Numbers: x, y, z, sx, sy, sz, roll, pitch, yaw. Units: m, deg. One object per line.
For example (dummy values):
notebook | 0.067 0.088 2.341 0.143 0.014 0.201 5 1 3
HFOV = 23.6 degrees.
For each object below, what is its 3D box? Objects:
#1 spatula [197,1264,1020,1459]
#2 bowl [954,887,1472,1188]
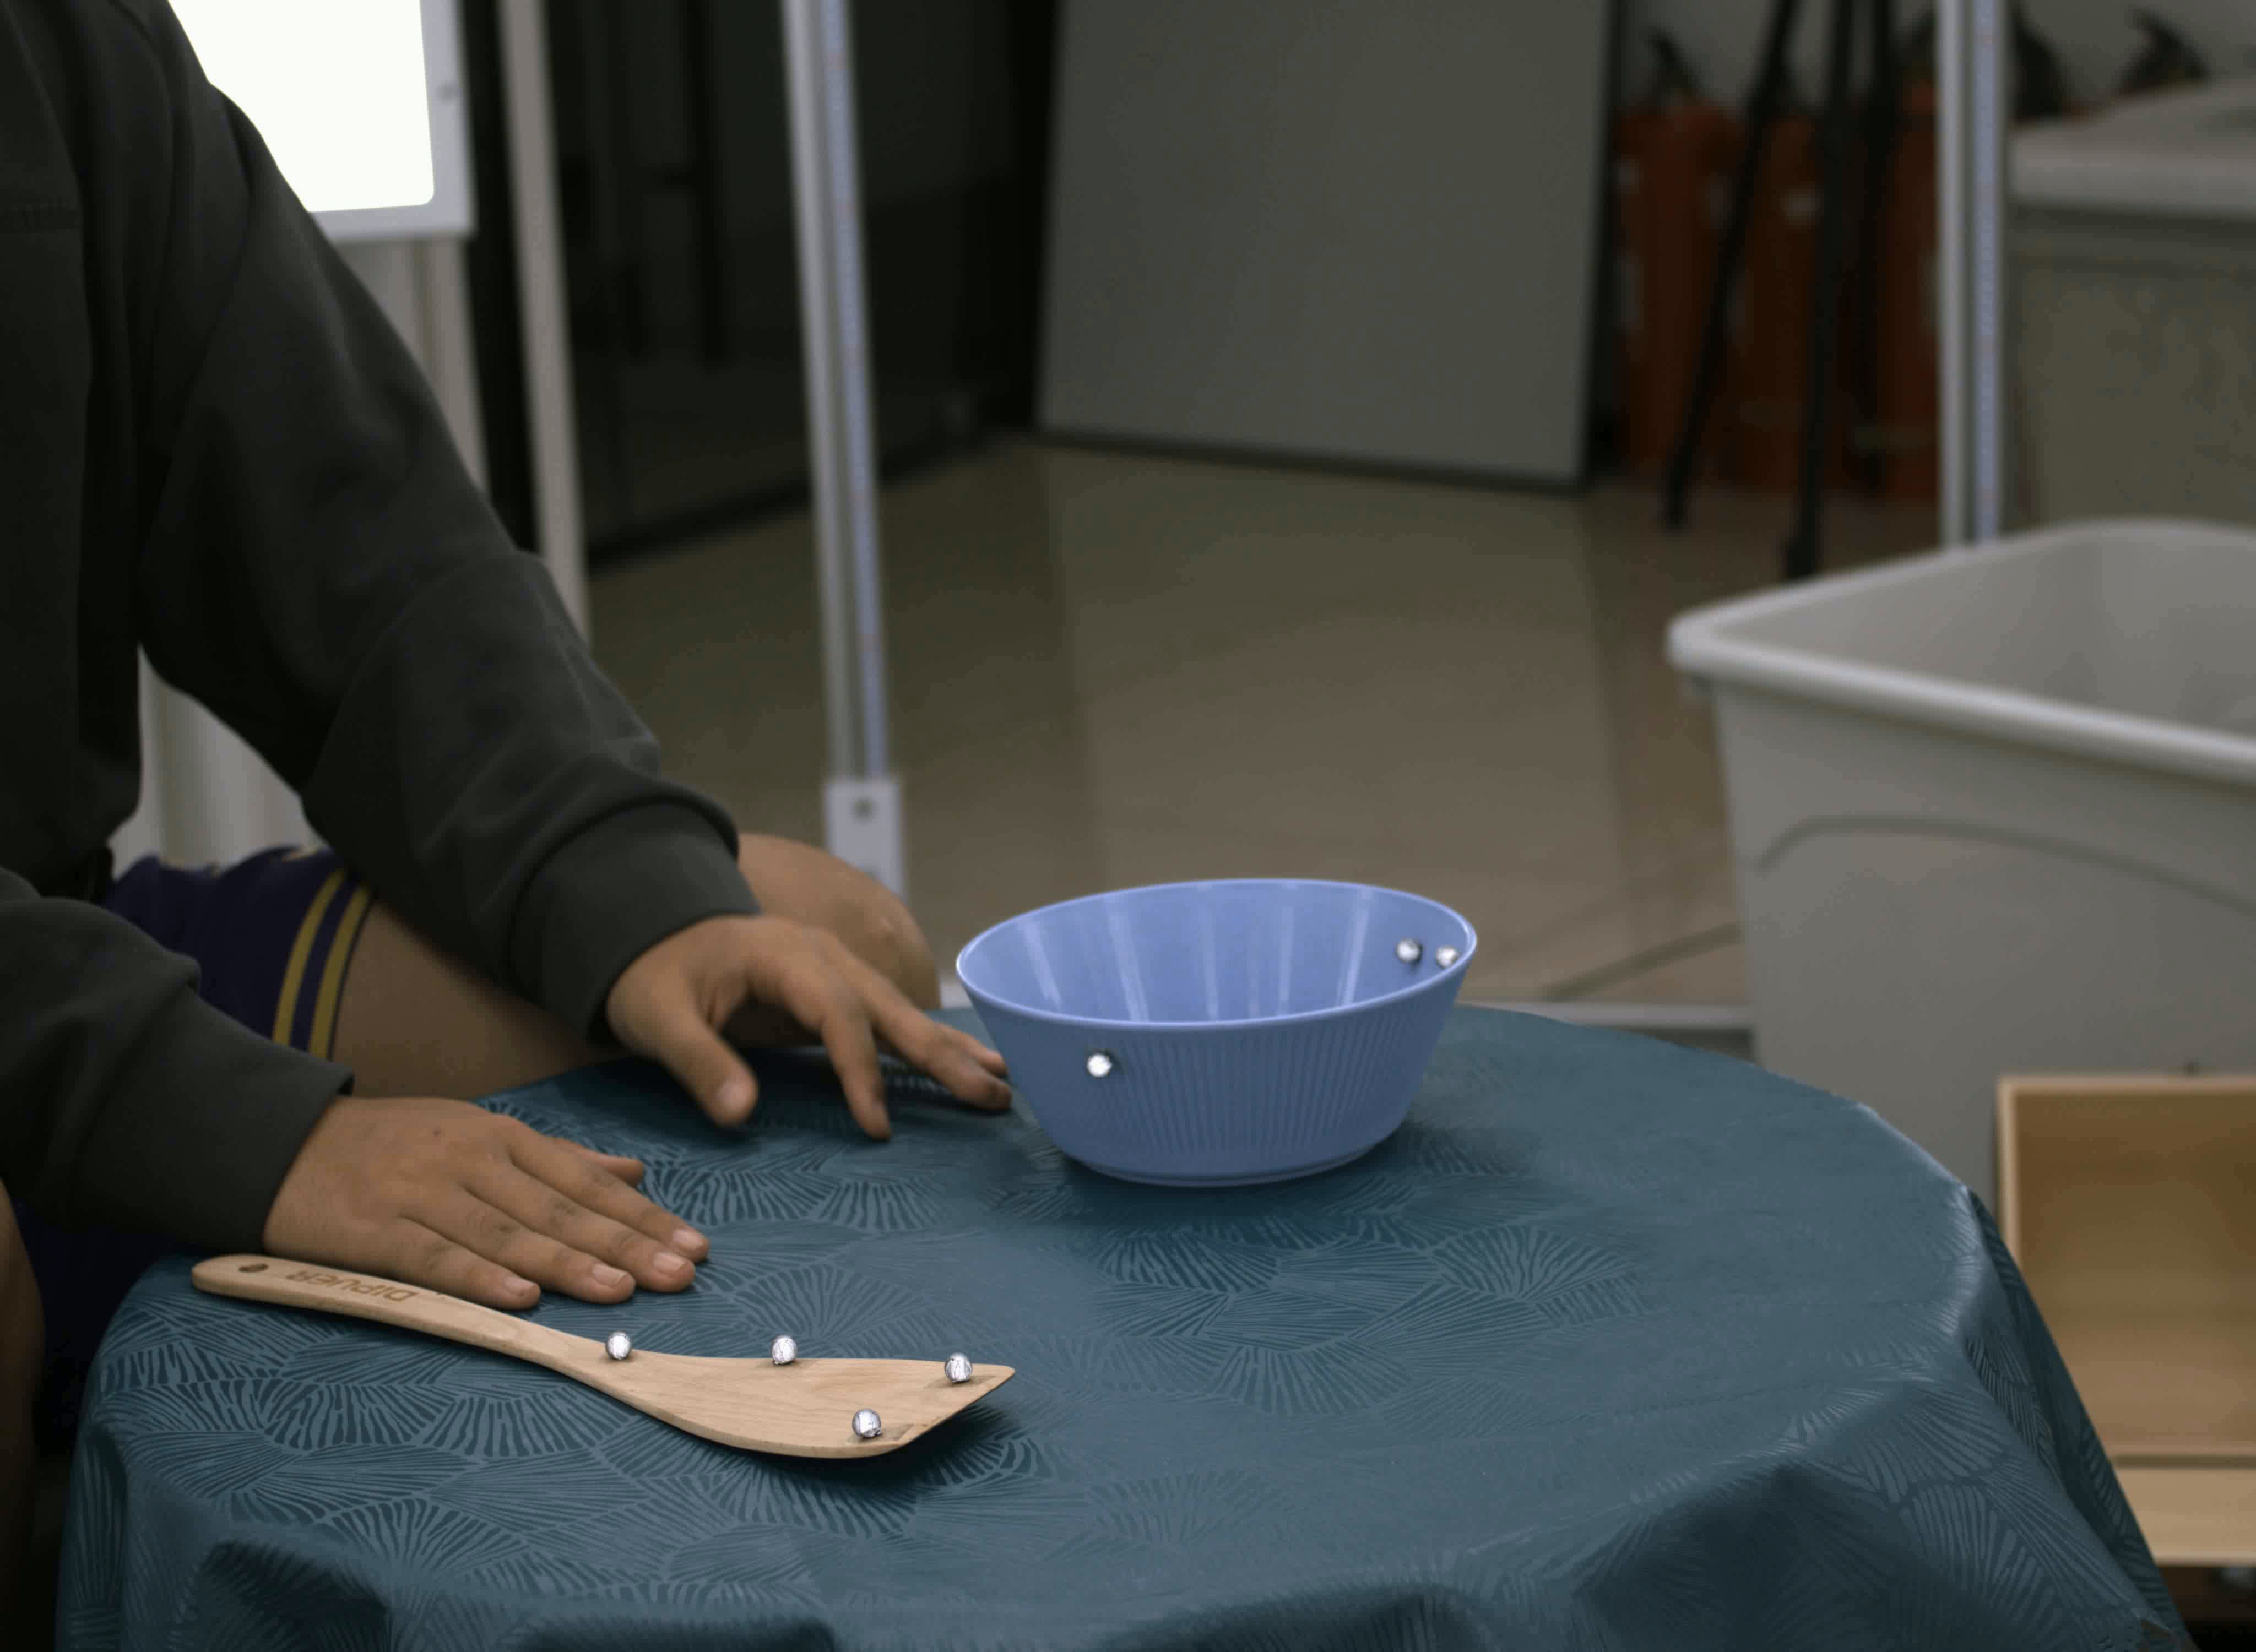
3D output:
spatula | -0.168 0.157 1.639 0.330 0.017 0.078 7 18 40
bowl | 0.030 0.073 1.810 0.174 0.071 0.176 -4 14 0
